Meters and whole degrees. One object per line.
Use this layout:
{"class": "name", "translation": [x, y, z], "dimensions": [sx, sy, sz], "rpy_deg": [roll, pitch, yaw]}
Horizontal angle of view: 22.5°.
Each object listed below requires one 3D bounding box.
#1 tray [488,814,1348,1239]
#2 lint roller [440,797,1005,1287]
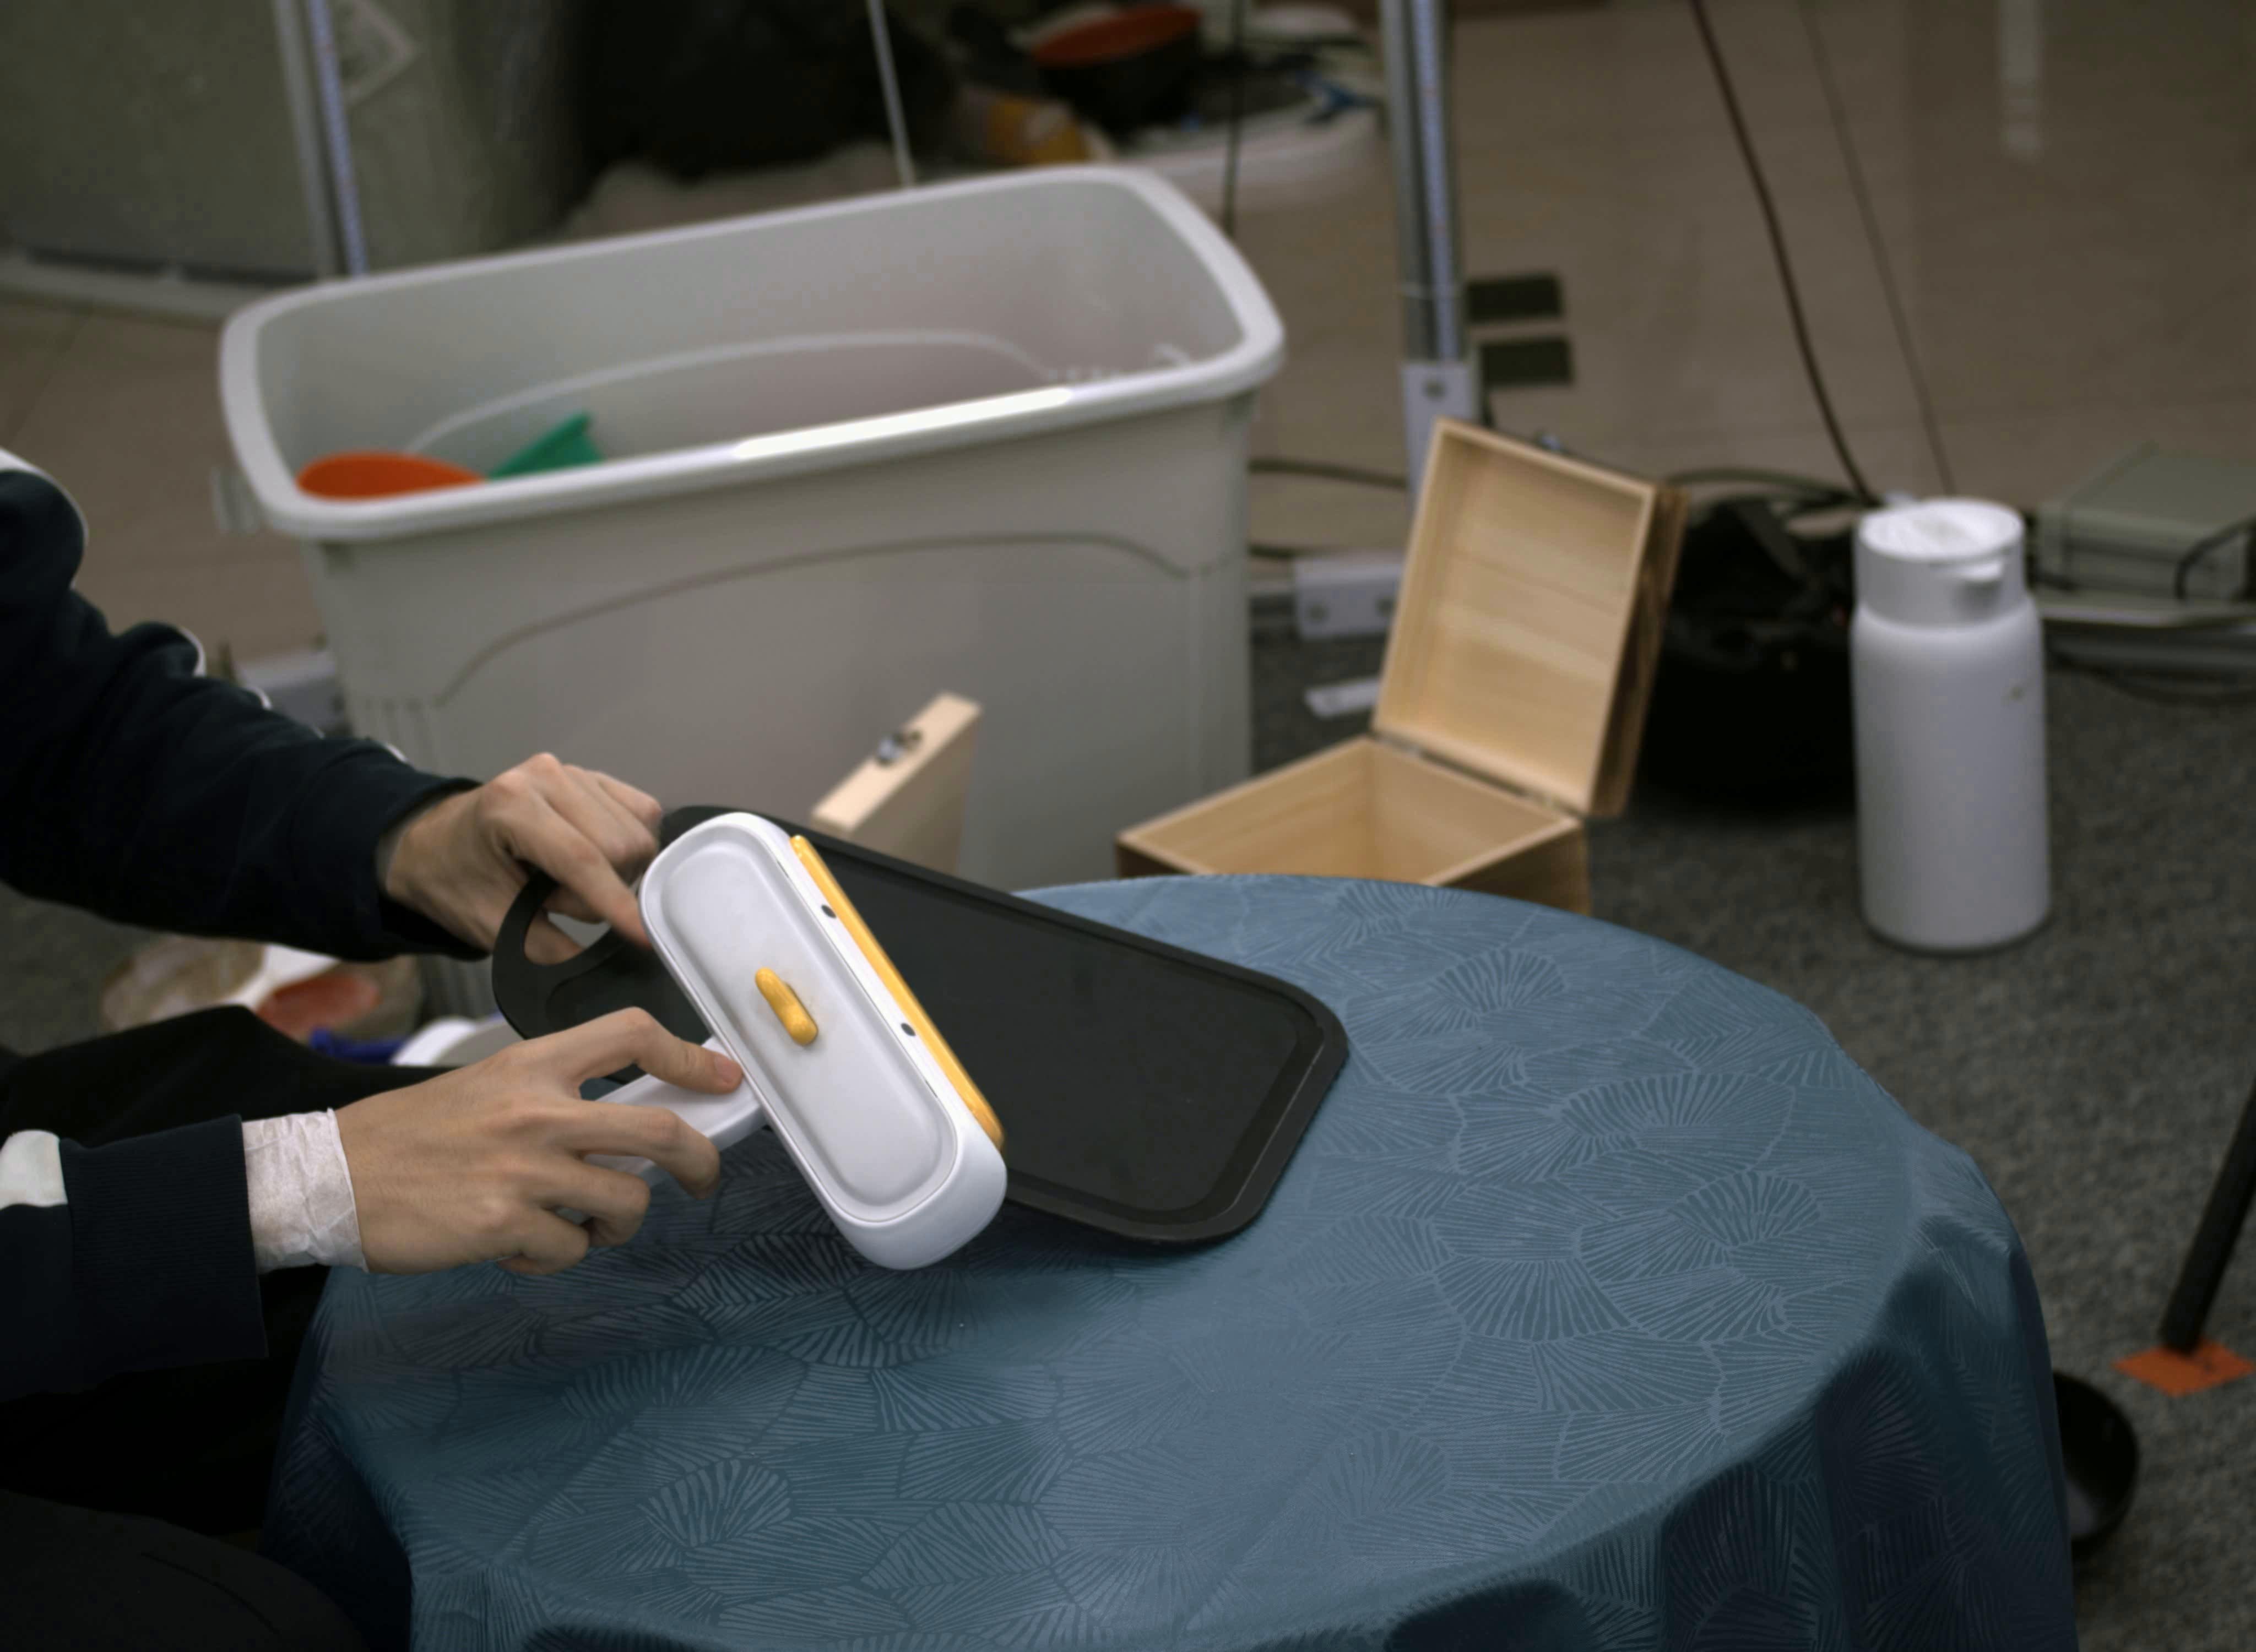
{"class": "tray", "translation": [-0.085, 0.071, 2.195], "dimensions": [0.324, 0.010, 0.208], "rpy_deg": [17, 30, 10]}
{"class": "lint roller", "translation": [-0.165, 0.103, 2.074], "dimensions": [0.192, 0.075, 0.191], "rpy_deg": [-37, 72, -7]}
